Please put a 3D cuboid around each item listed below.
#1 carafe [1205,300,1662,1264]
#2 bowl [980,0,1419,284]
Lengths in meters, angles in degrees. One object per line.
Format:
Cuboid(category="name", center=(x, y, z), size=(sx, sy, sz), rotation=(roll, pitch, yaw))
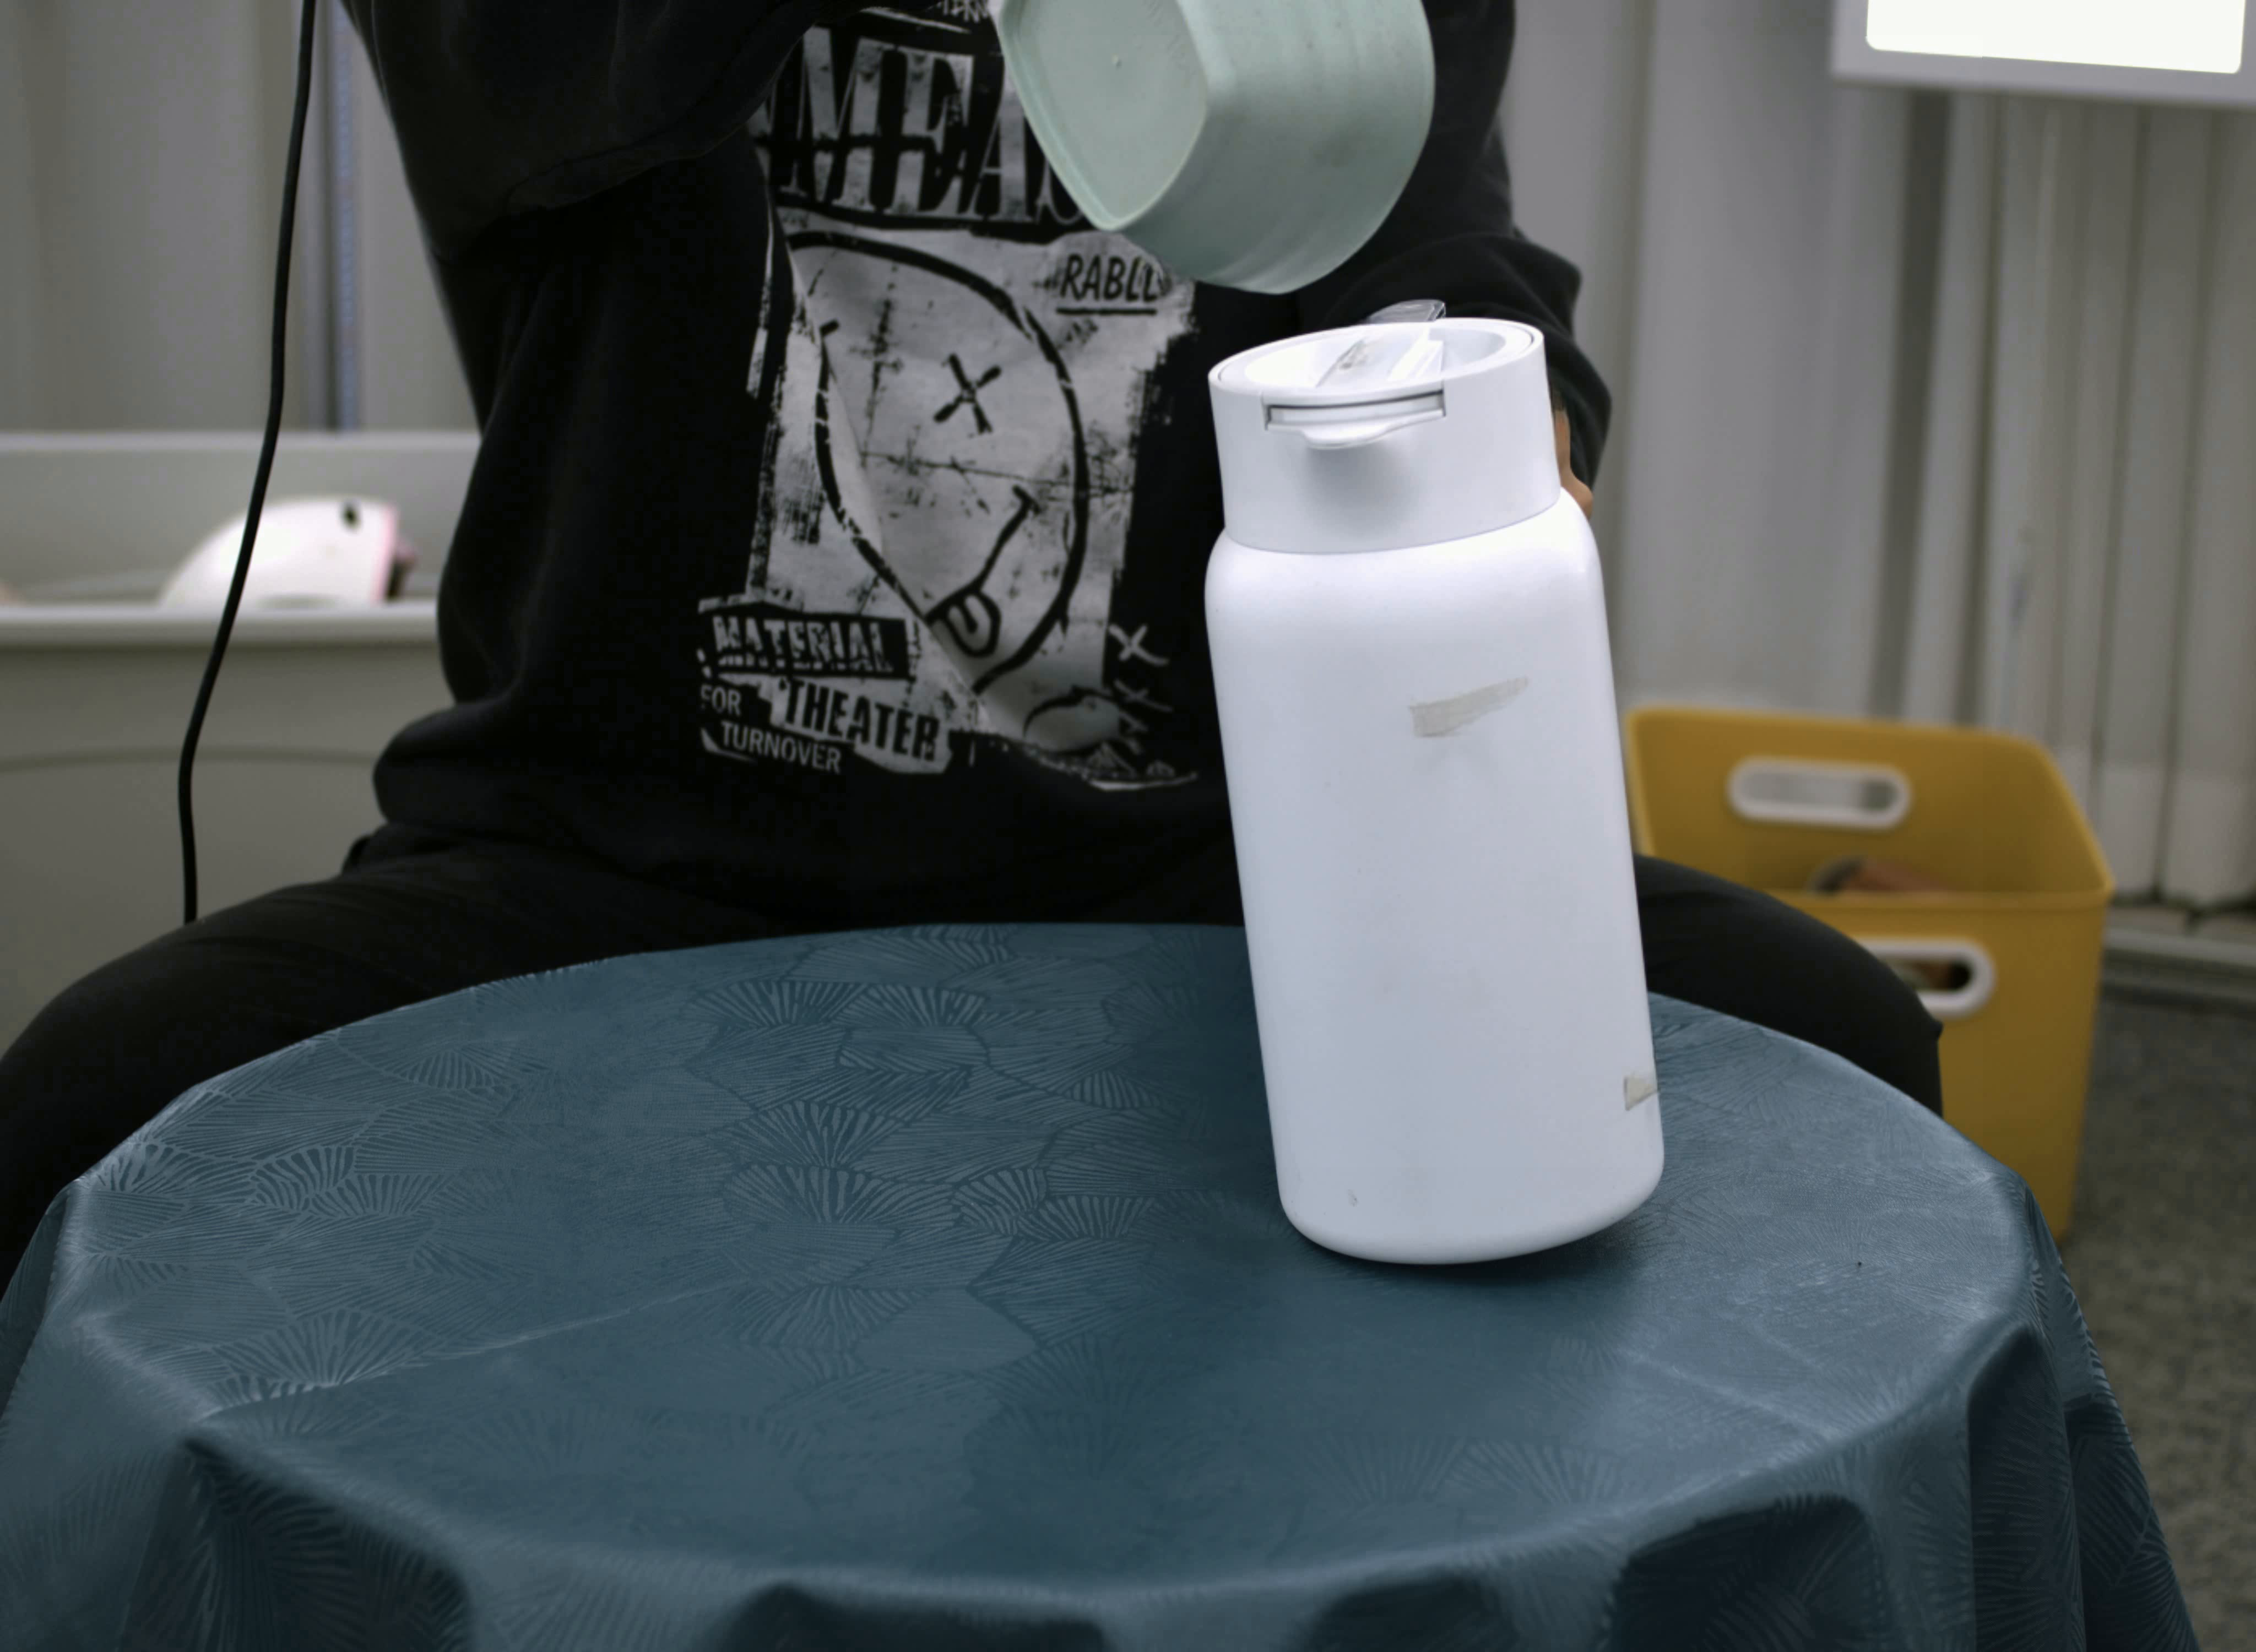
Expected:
Cuboid(category="carafe", center=(0.090, -0.017, 1.573), size=(0.123, 0.271, 0.172), rotation=(-6, 17, 12))
Cuboid(category="bowl", center=(0.010, -0.219, 1.451), size=(0.059, 0.153, 0.149), rotation=(-18, 24, -35))
